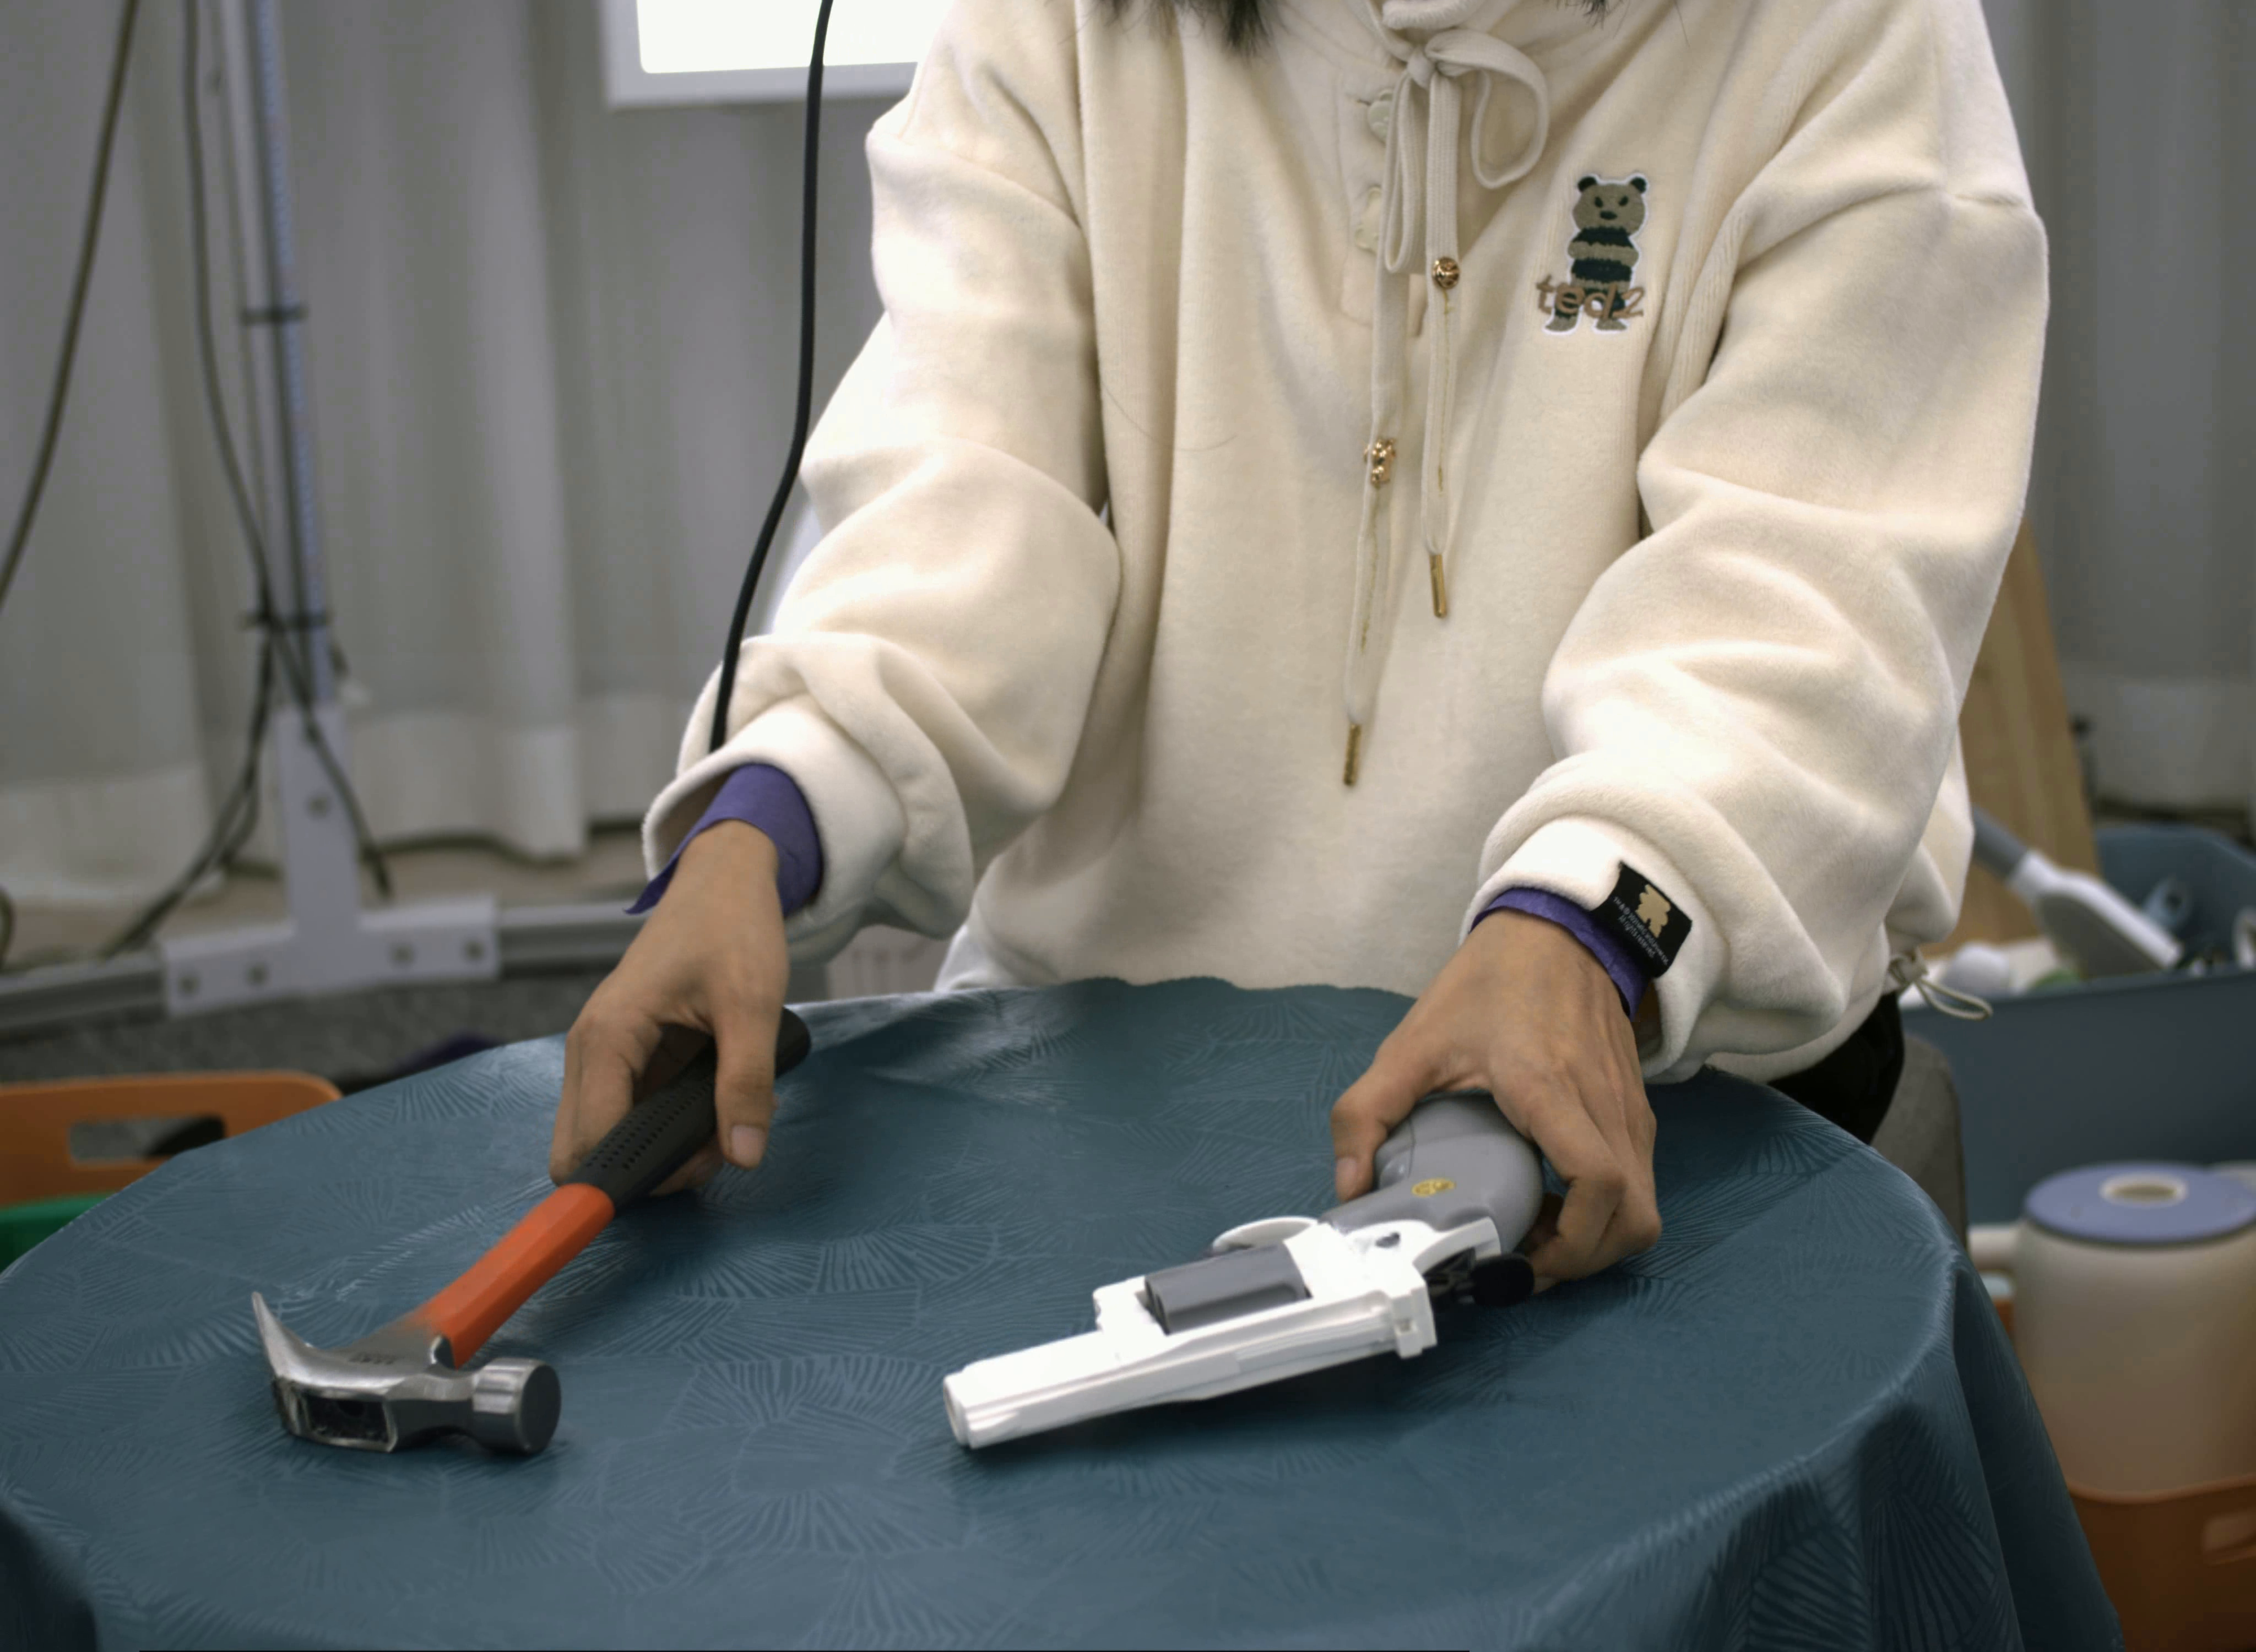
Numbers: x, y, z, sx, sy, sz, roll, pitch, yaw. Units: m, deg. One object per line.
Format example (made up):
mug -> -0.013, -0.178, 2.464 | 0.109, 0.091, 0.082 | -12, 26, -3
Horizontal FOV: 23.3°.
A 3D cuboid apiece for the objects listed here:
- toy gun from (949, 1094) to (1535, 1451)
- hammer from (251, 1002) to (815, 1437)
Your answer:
toy gun -> 0.038, 0.129, 1.569 | 0.208, 0.038, 0.143 | -12, 17, -14
hammer -> -0.167, 0.114, 1.646 | 0.110, 0.026, 0.279 | -8, 17, 26
